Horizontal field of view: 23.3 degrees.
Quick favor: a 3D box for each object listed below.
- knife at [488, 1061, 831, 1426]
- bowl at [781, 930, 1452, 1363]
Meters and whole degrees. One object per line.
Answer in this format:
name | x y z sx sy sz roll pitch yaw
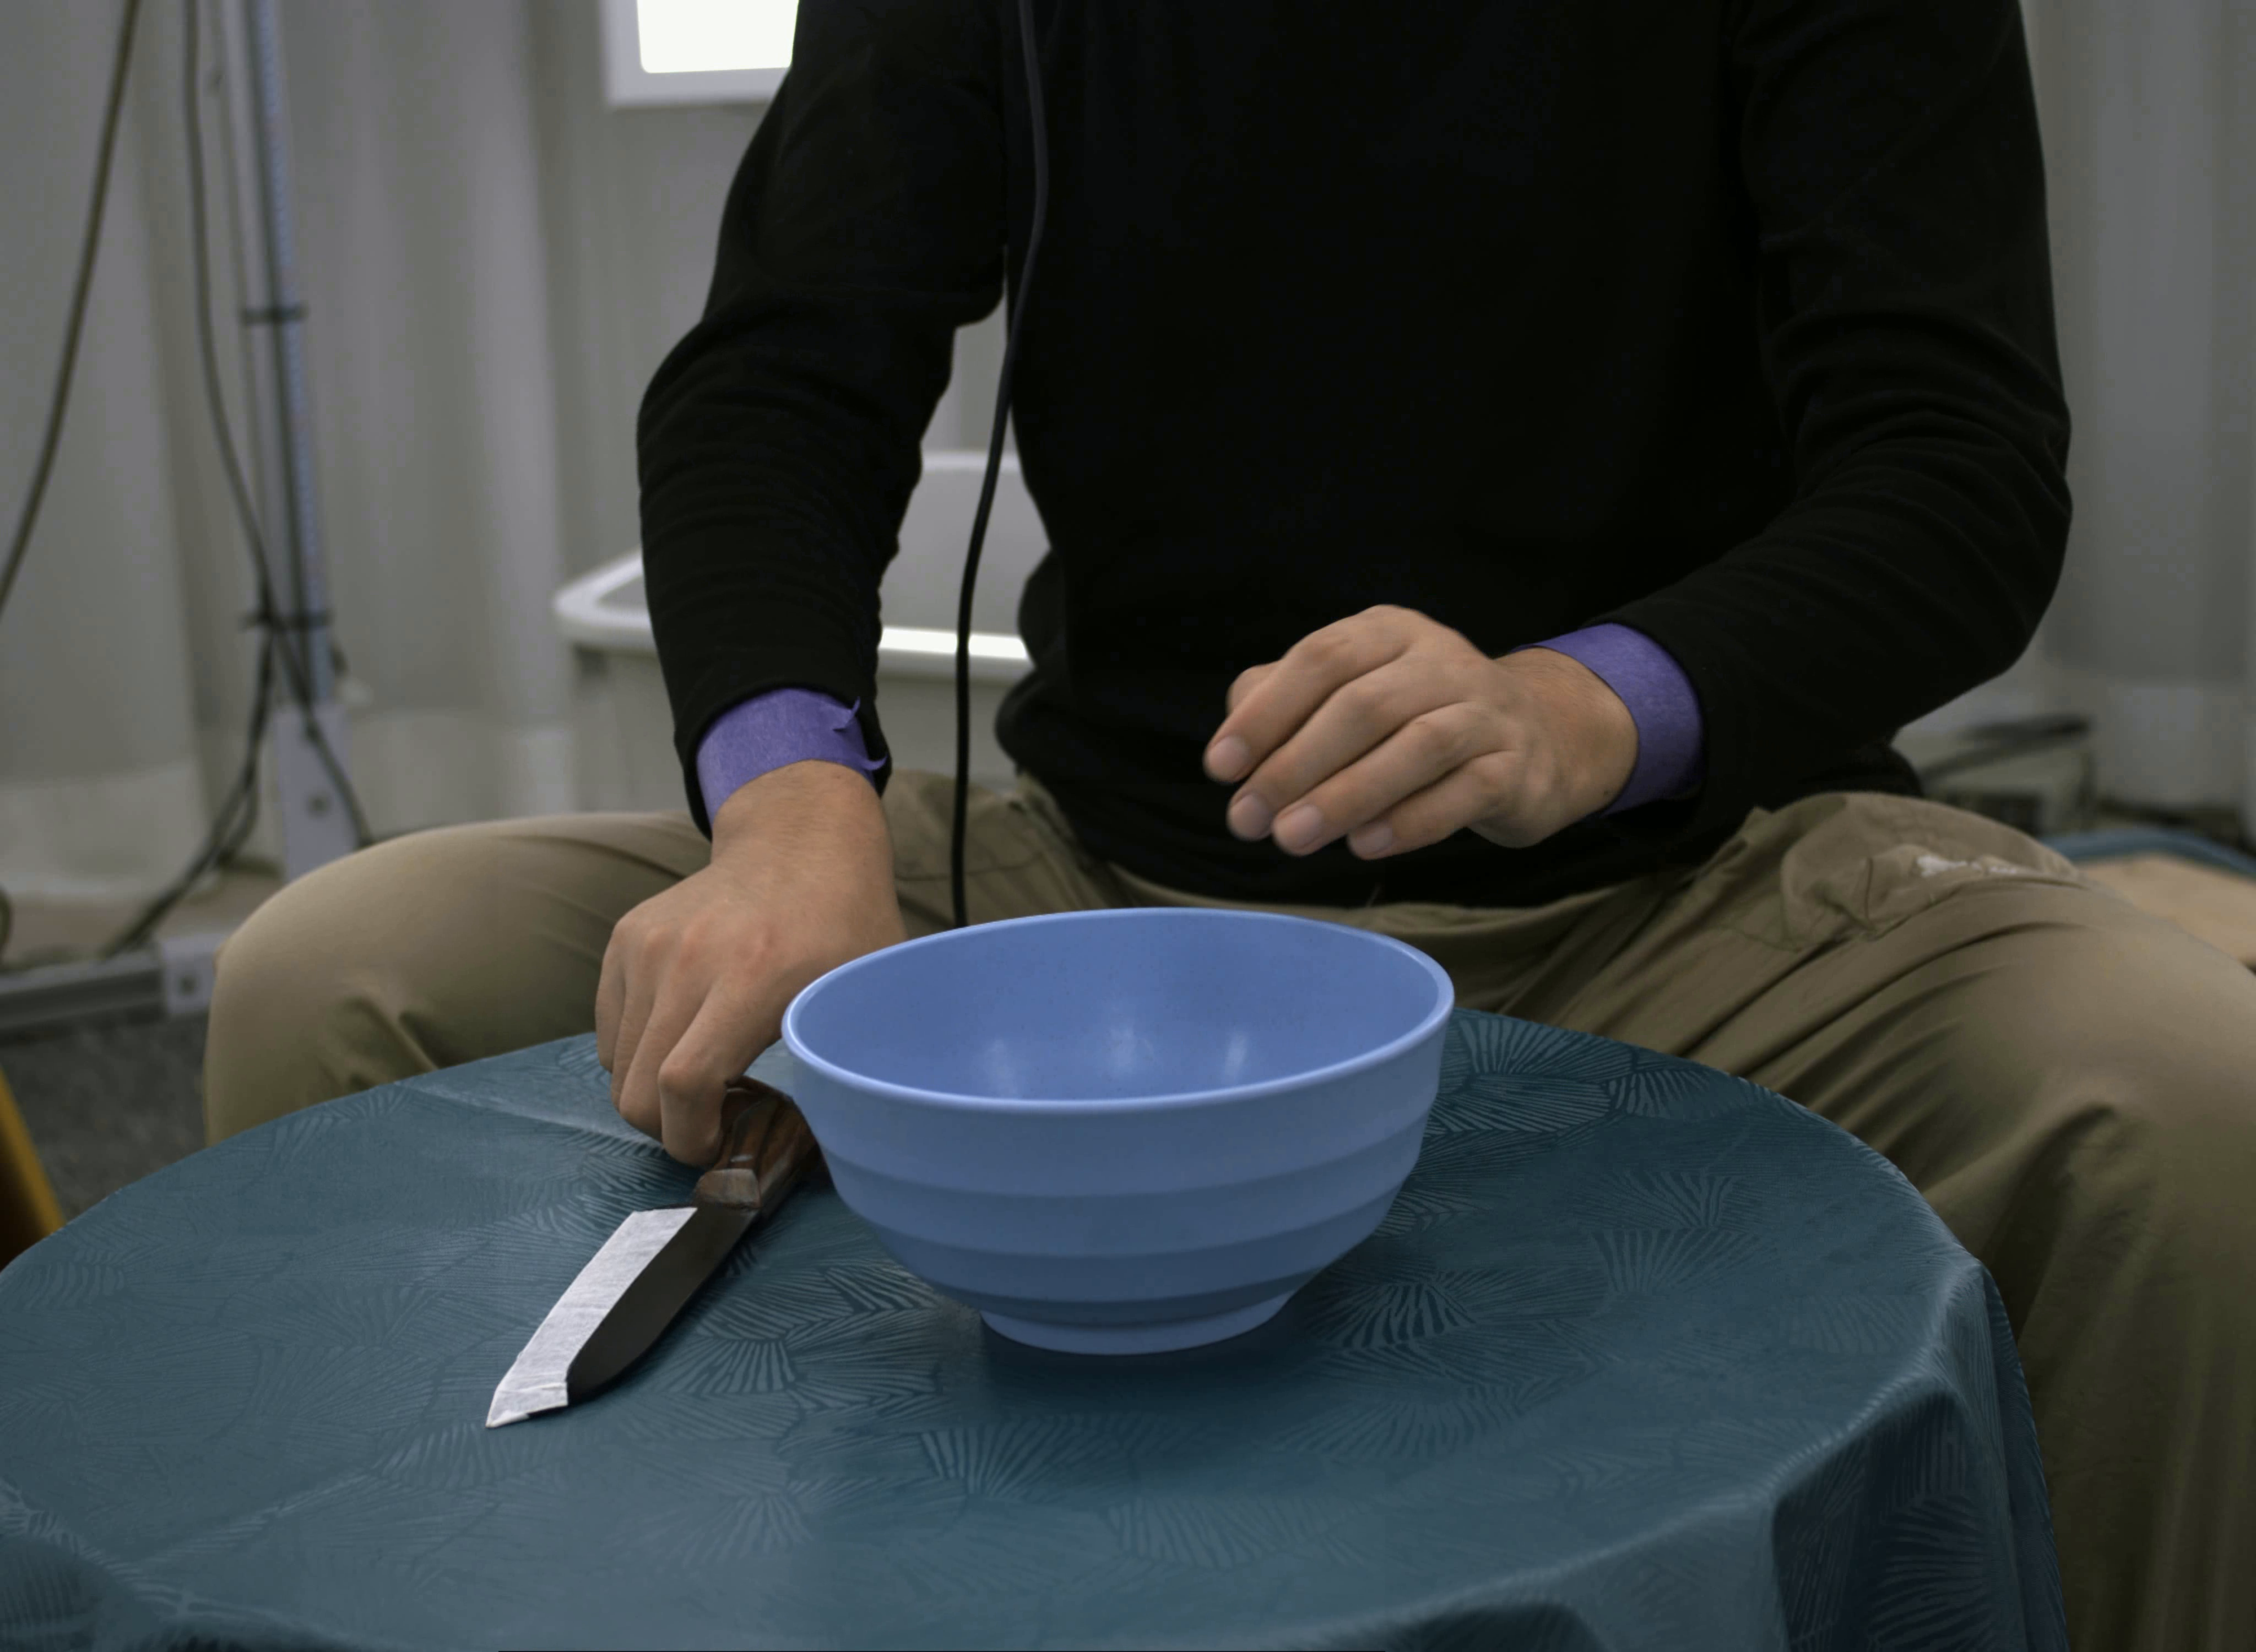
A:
knife | -0.136 0.126 1.671 0.050 0.020 0.290 -5 16 18
bowl | -0.001 0.098 1.604 0.196 0.095 0.197 -3 12 0
